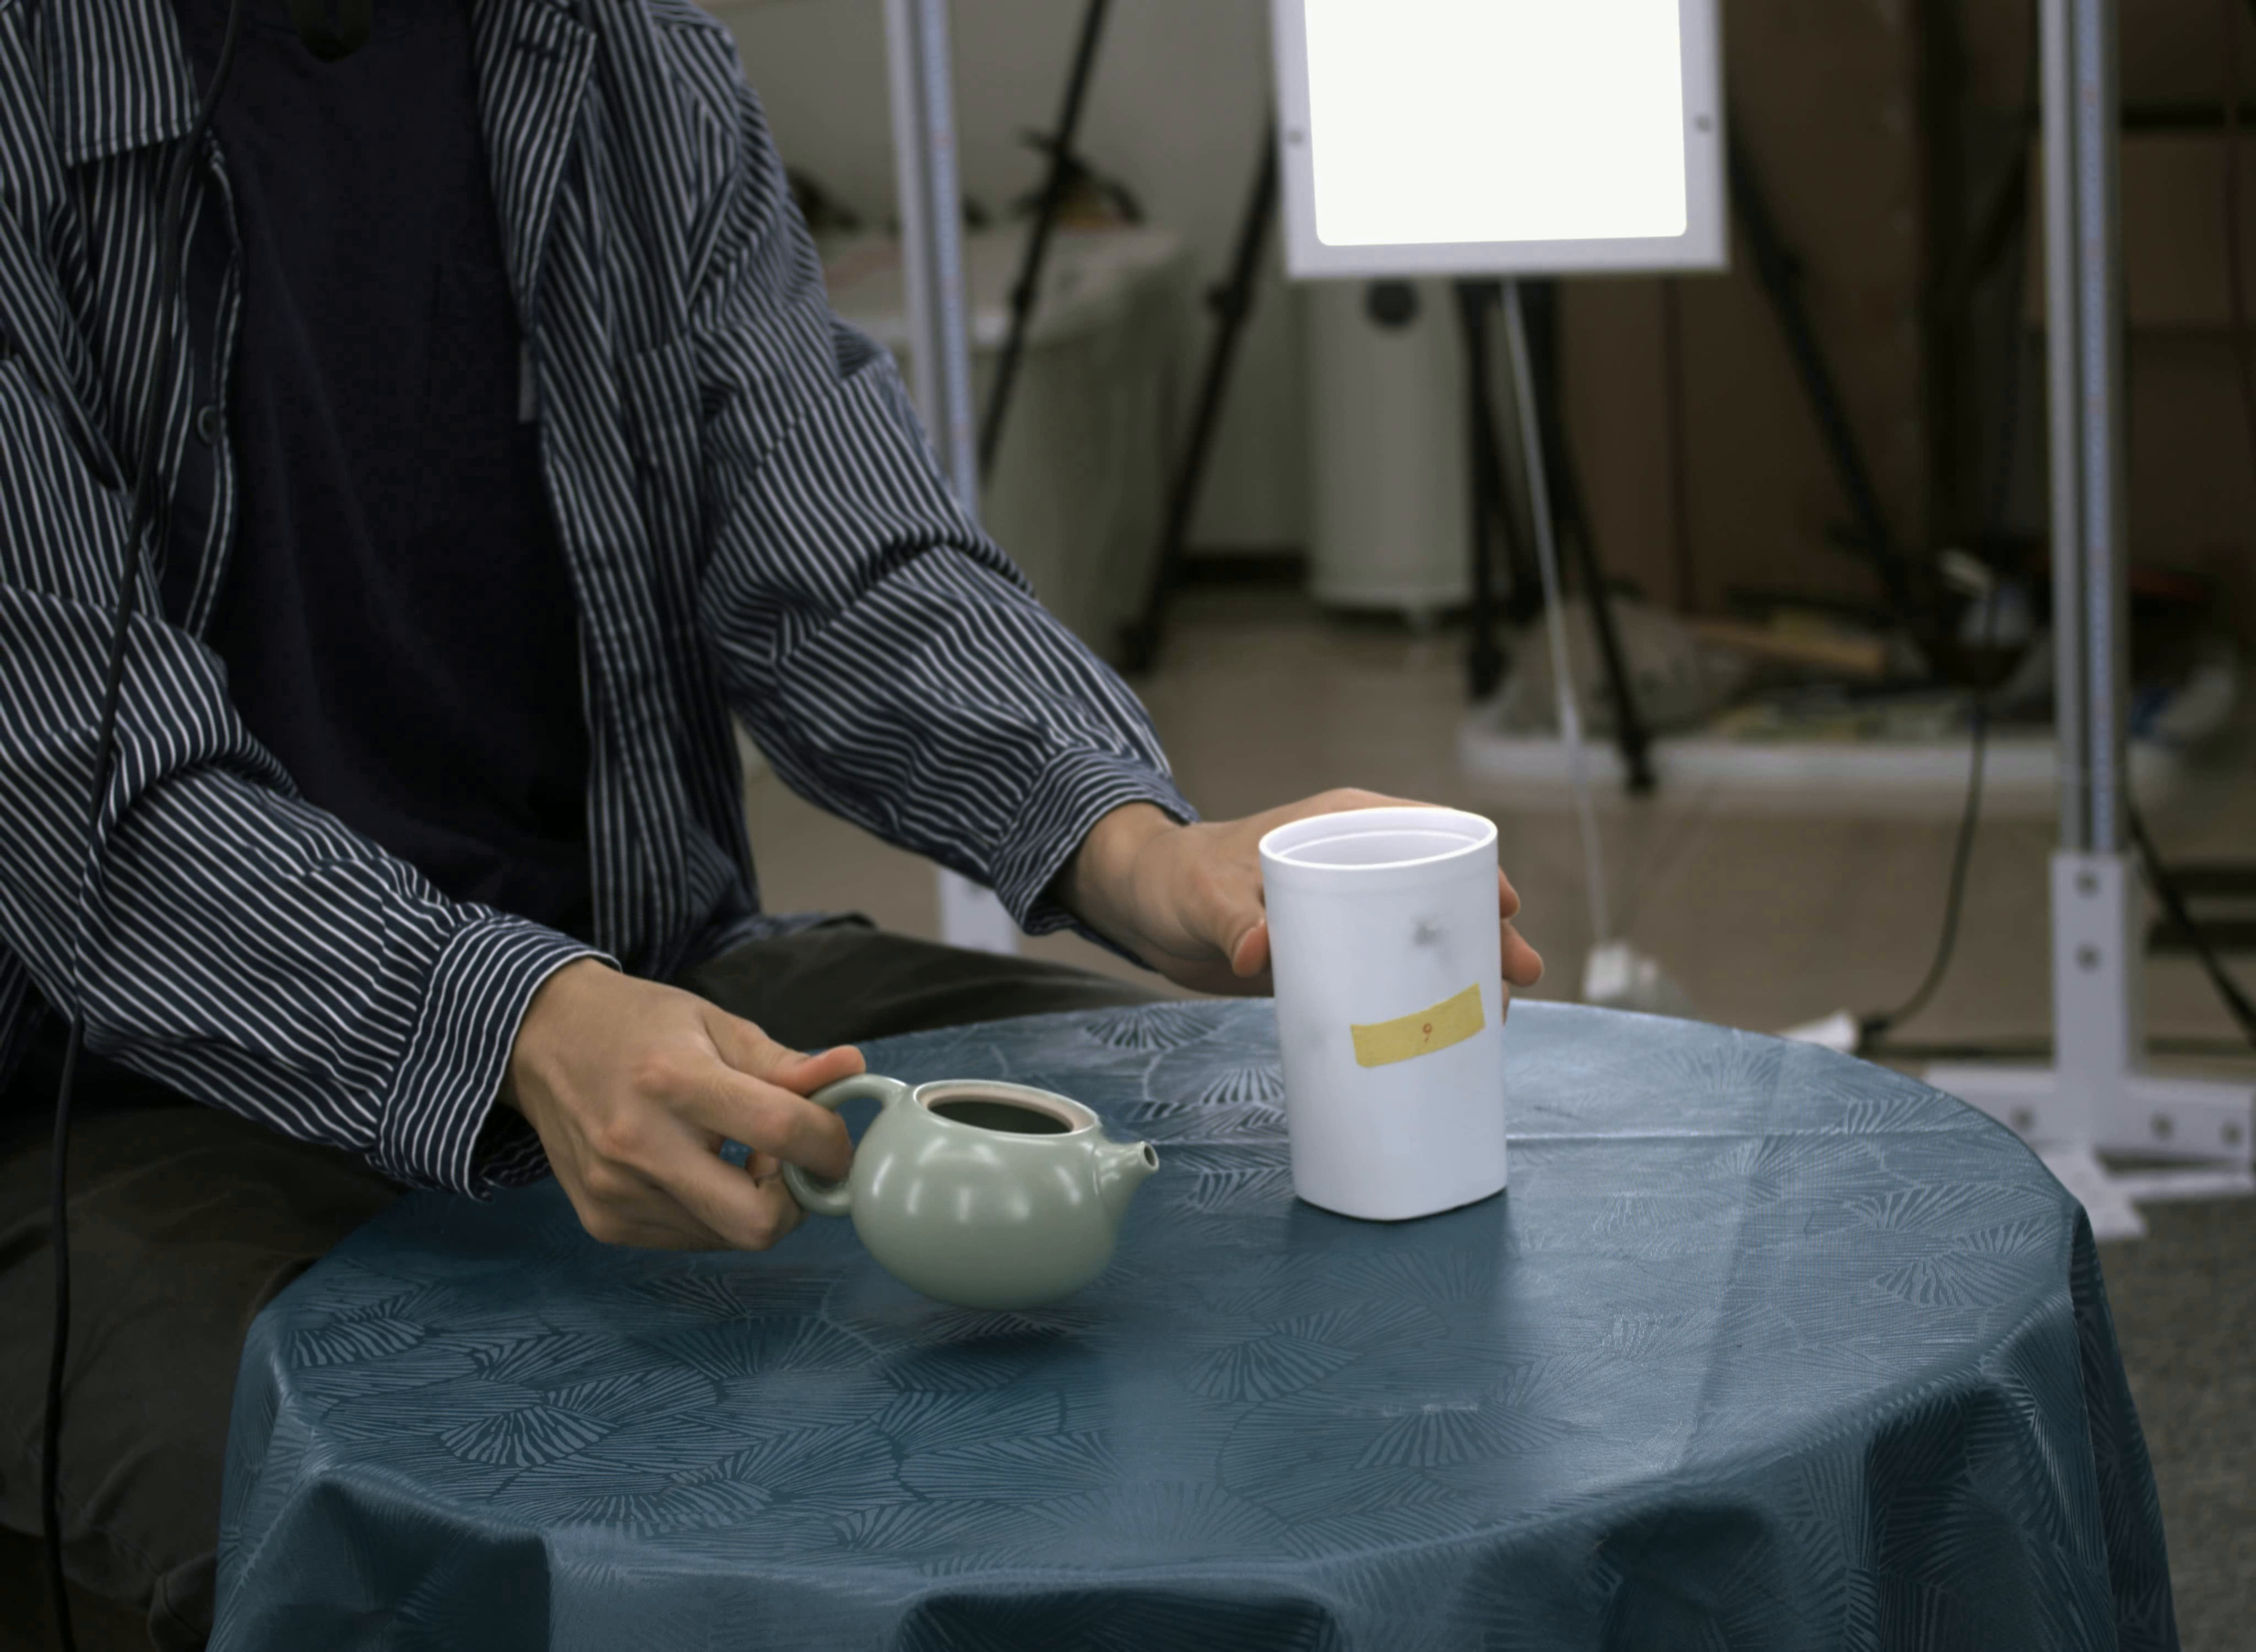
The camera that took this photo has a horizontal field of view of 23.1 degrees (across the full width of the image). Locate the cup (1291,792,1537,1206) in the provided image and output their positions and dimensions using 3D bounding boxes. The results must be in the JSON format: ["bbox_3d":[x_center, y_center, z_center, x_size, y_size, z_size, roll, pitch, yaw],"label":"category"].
[{"bbox_3d":[0.100,0.058,1.858,0.081,0.126,0.081,-5,14,0],"label":"cup"}]

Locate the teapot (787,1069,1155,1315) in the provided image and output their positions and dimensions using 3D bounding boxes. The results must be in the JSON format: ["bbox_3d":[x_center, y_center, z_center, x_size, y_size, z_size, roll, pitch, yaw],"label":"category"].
[{"bbox_3d":[-0.052,0.116,1.760,0.130,0.061,0.089,15,17,25],"label":"teapot"}]
